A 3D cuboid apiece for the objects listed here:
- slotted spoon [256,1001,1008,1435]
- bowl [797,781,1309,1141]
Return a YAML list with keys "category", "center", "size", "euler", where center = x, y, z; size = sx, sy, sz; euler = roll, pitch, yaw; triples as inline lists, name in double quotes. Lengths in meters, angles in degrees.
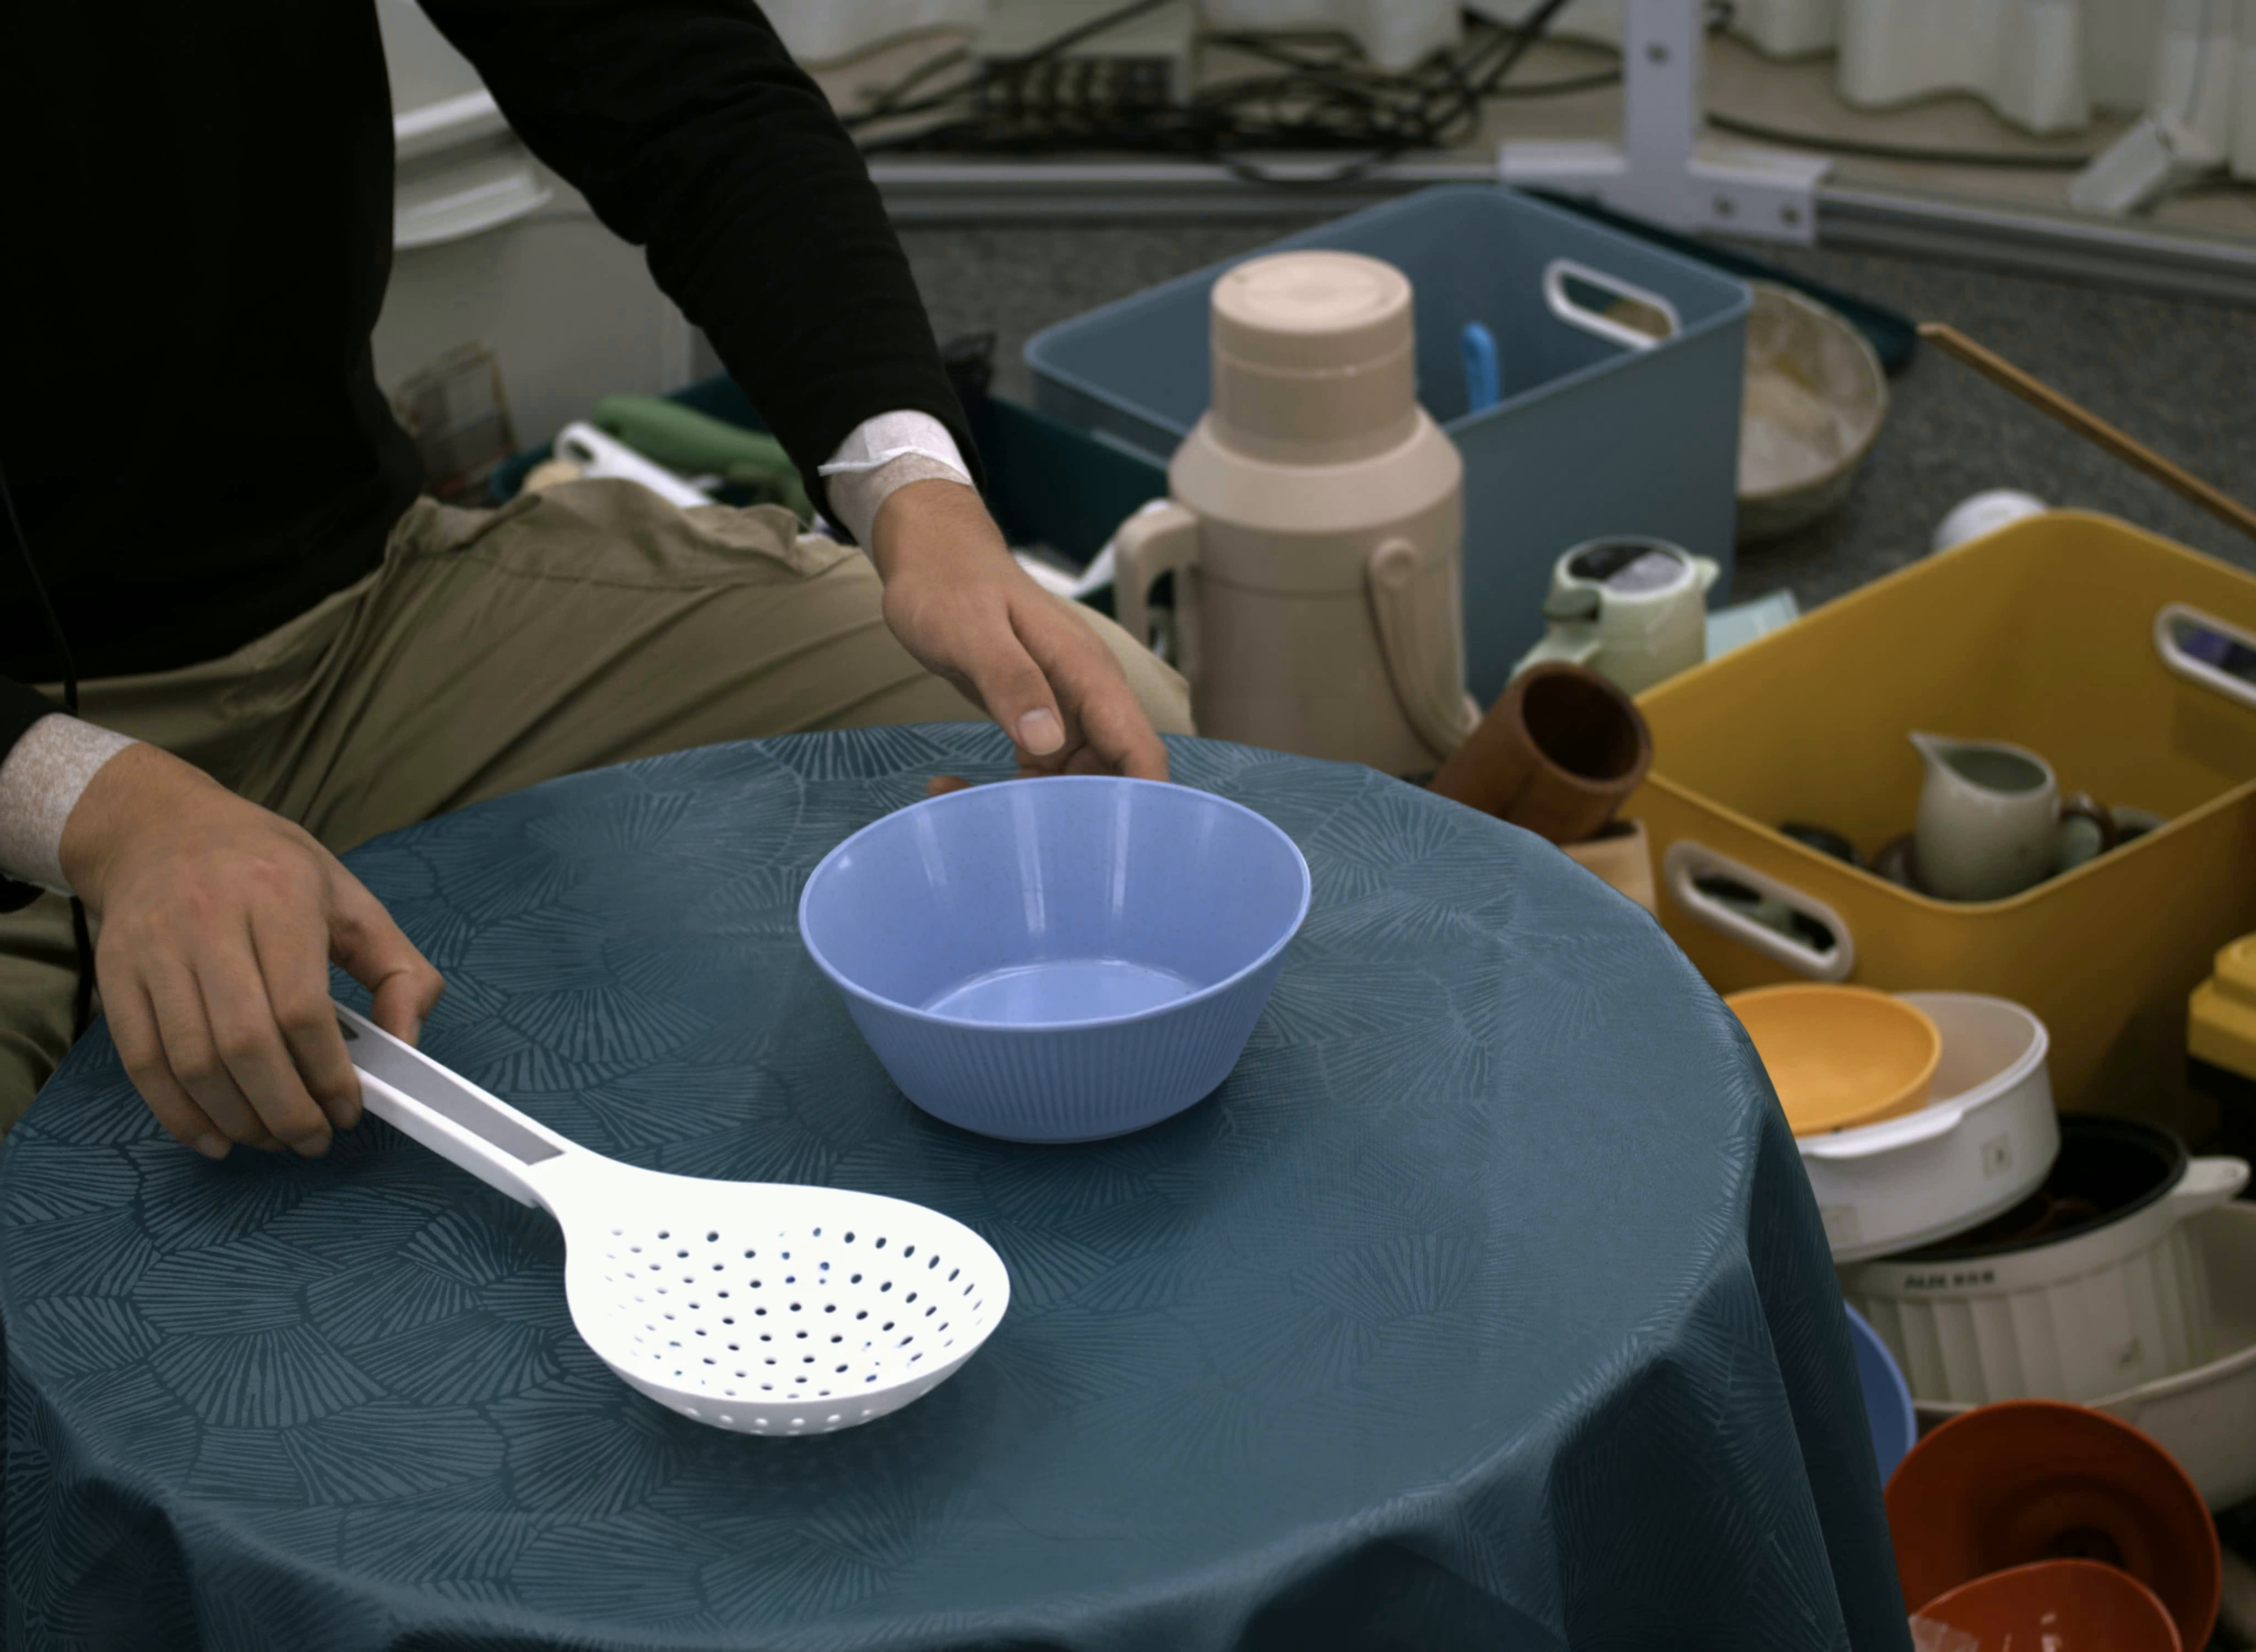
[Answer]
- category: "slotted spoon"
  center: [-0.176, 0.120, 1.817]
  size: [0.137, 0.045, 0.350]
  euler: [-20, 35, -37]
- category: "bowl"
  center: [-0.024, 0.052, 1.924]
  size: [0.175, 0.069, 0.178]
  euler: [-3, 26, 2]
